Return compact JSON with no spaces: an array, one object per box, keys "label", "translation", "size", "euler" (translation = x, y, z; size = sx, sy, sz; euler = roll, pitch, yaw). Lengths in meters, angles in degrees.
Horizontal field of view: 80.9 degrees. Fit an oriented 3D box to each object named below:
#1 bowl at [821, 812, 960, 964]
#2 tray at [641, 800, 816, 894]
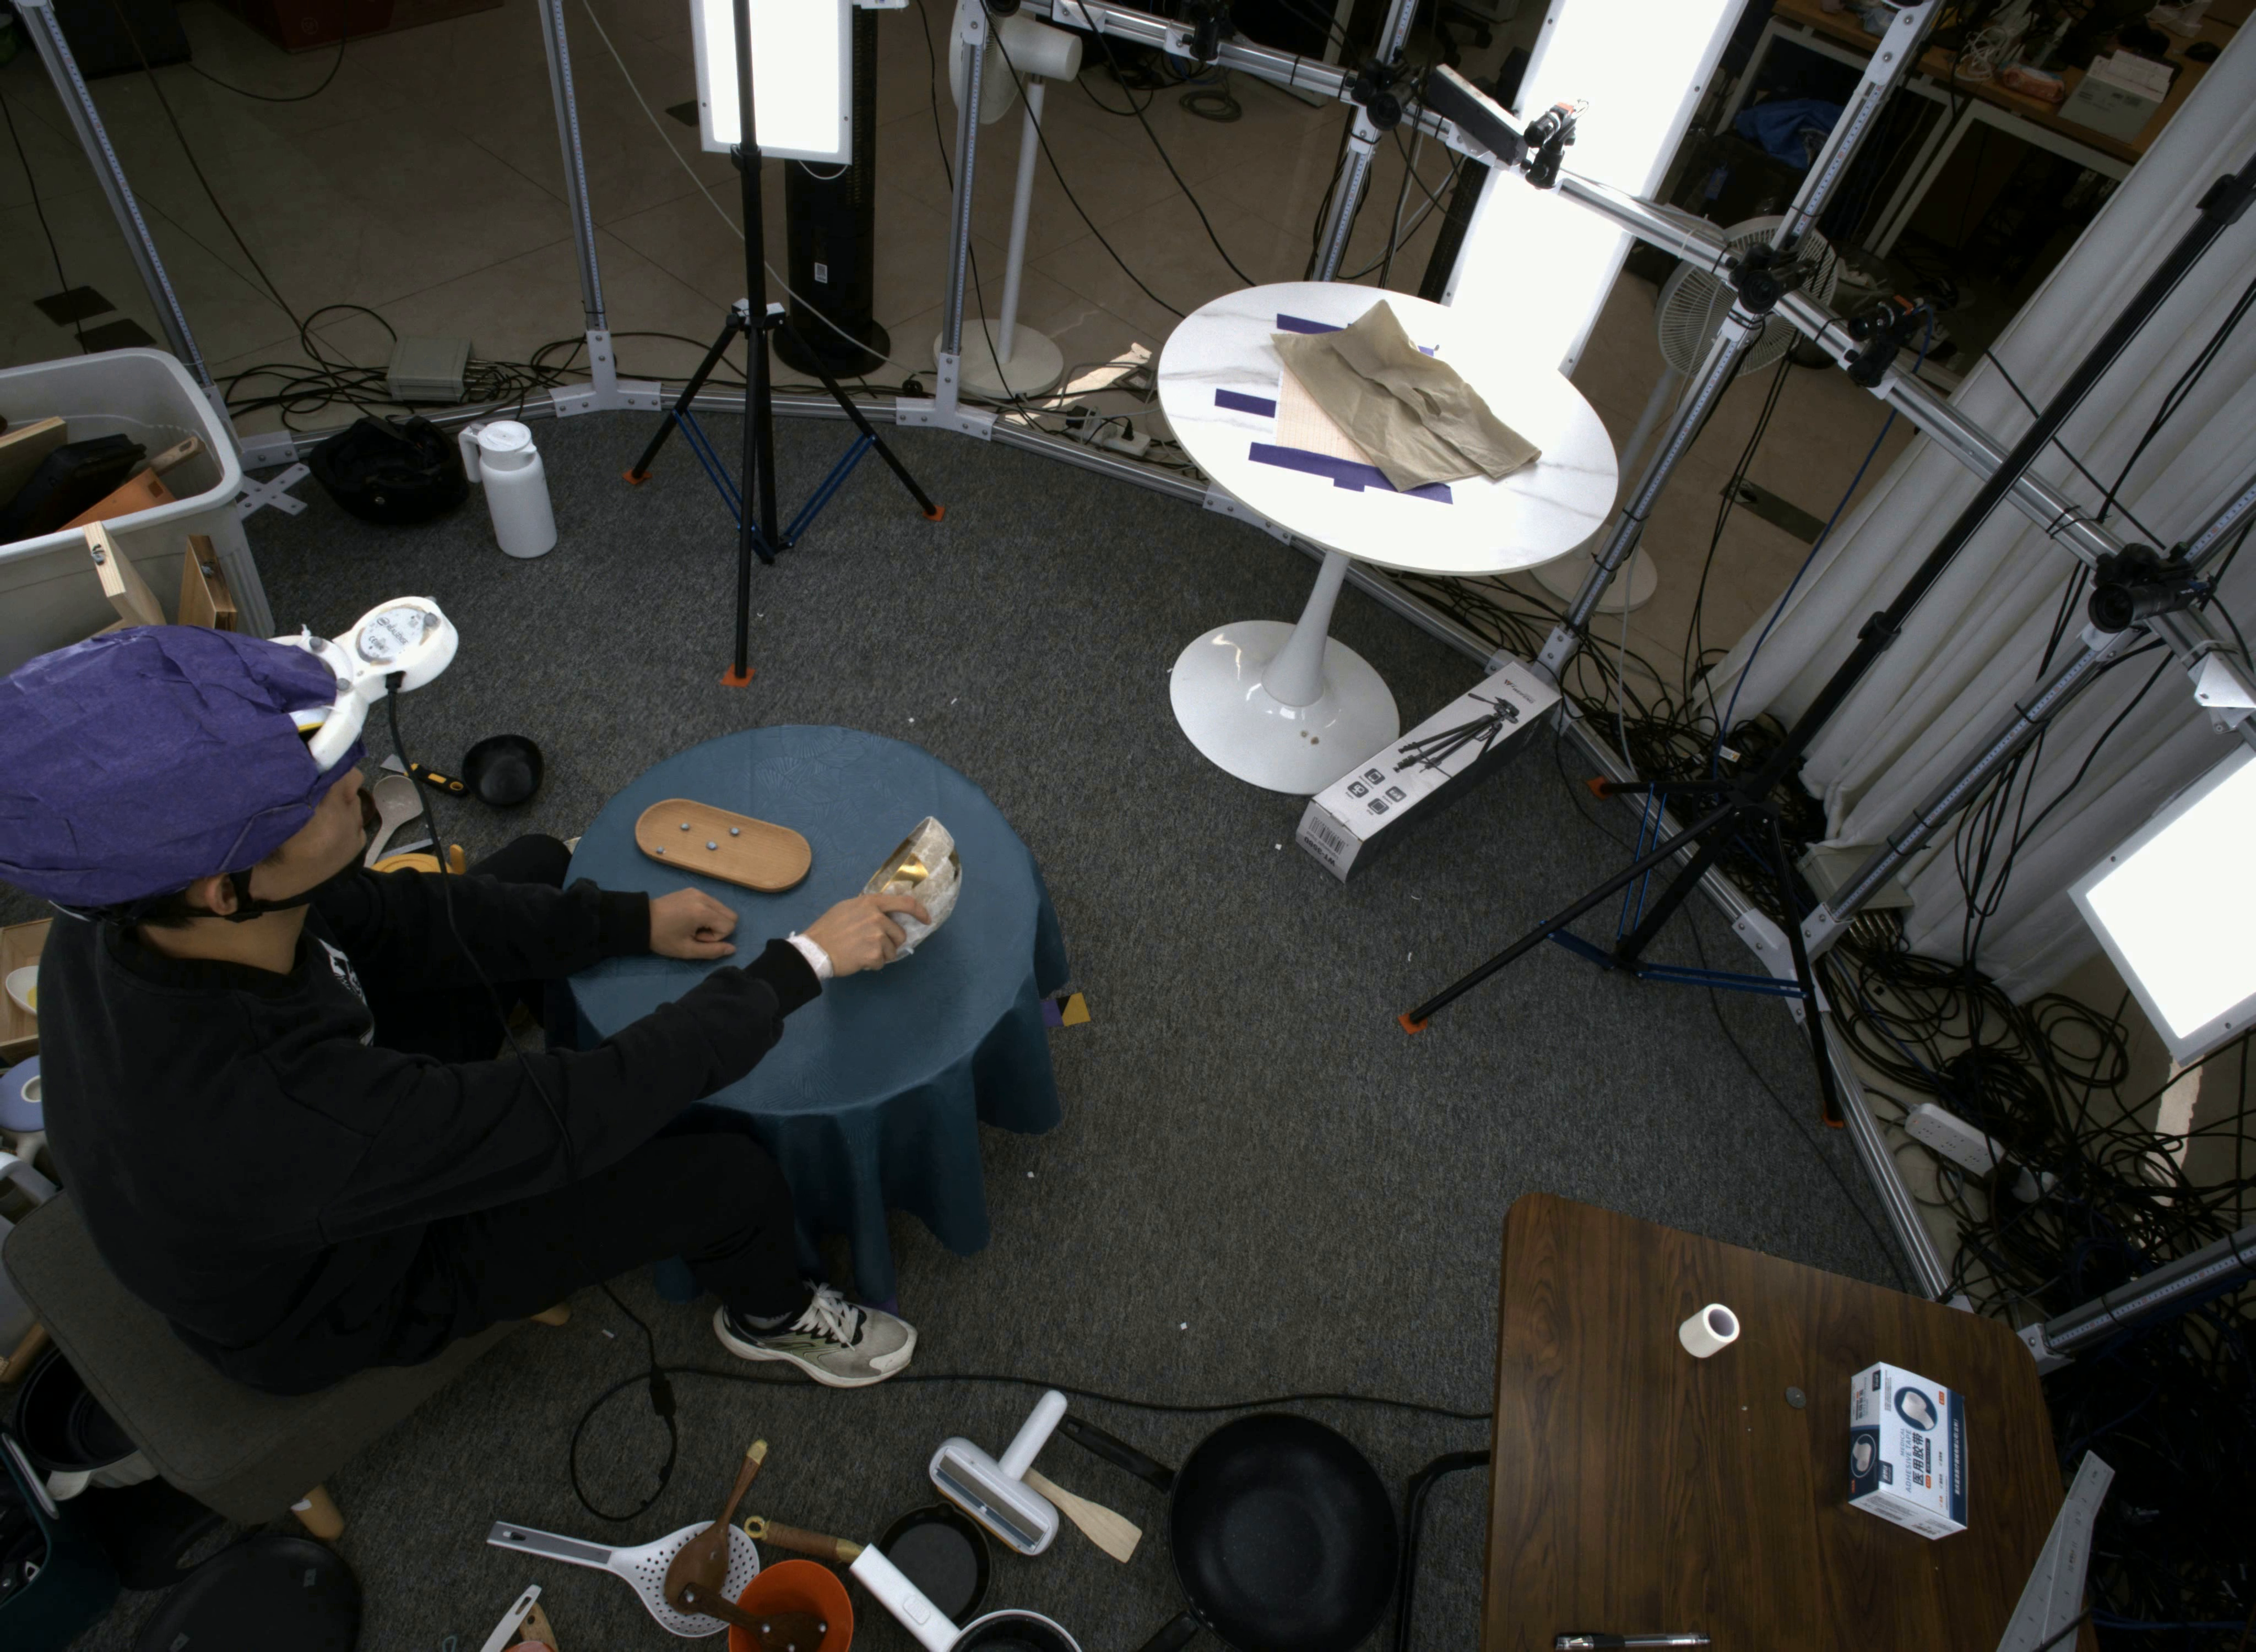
[{"label":"bowl","translation":[-0.271,0.092,1.579],"size":[0.096,0.213,0.213],"euler":[40,50,-13]},{"label":"tray","translation":[-0.519,0.025,1.676],"size":[0.230,0.020,0.100],"euler":[16,54,-5]}]
